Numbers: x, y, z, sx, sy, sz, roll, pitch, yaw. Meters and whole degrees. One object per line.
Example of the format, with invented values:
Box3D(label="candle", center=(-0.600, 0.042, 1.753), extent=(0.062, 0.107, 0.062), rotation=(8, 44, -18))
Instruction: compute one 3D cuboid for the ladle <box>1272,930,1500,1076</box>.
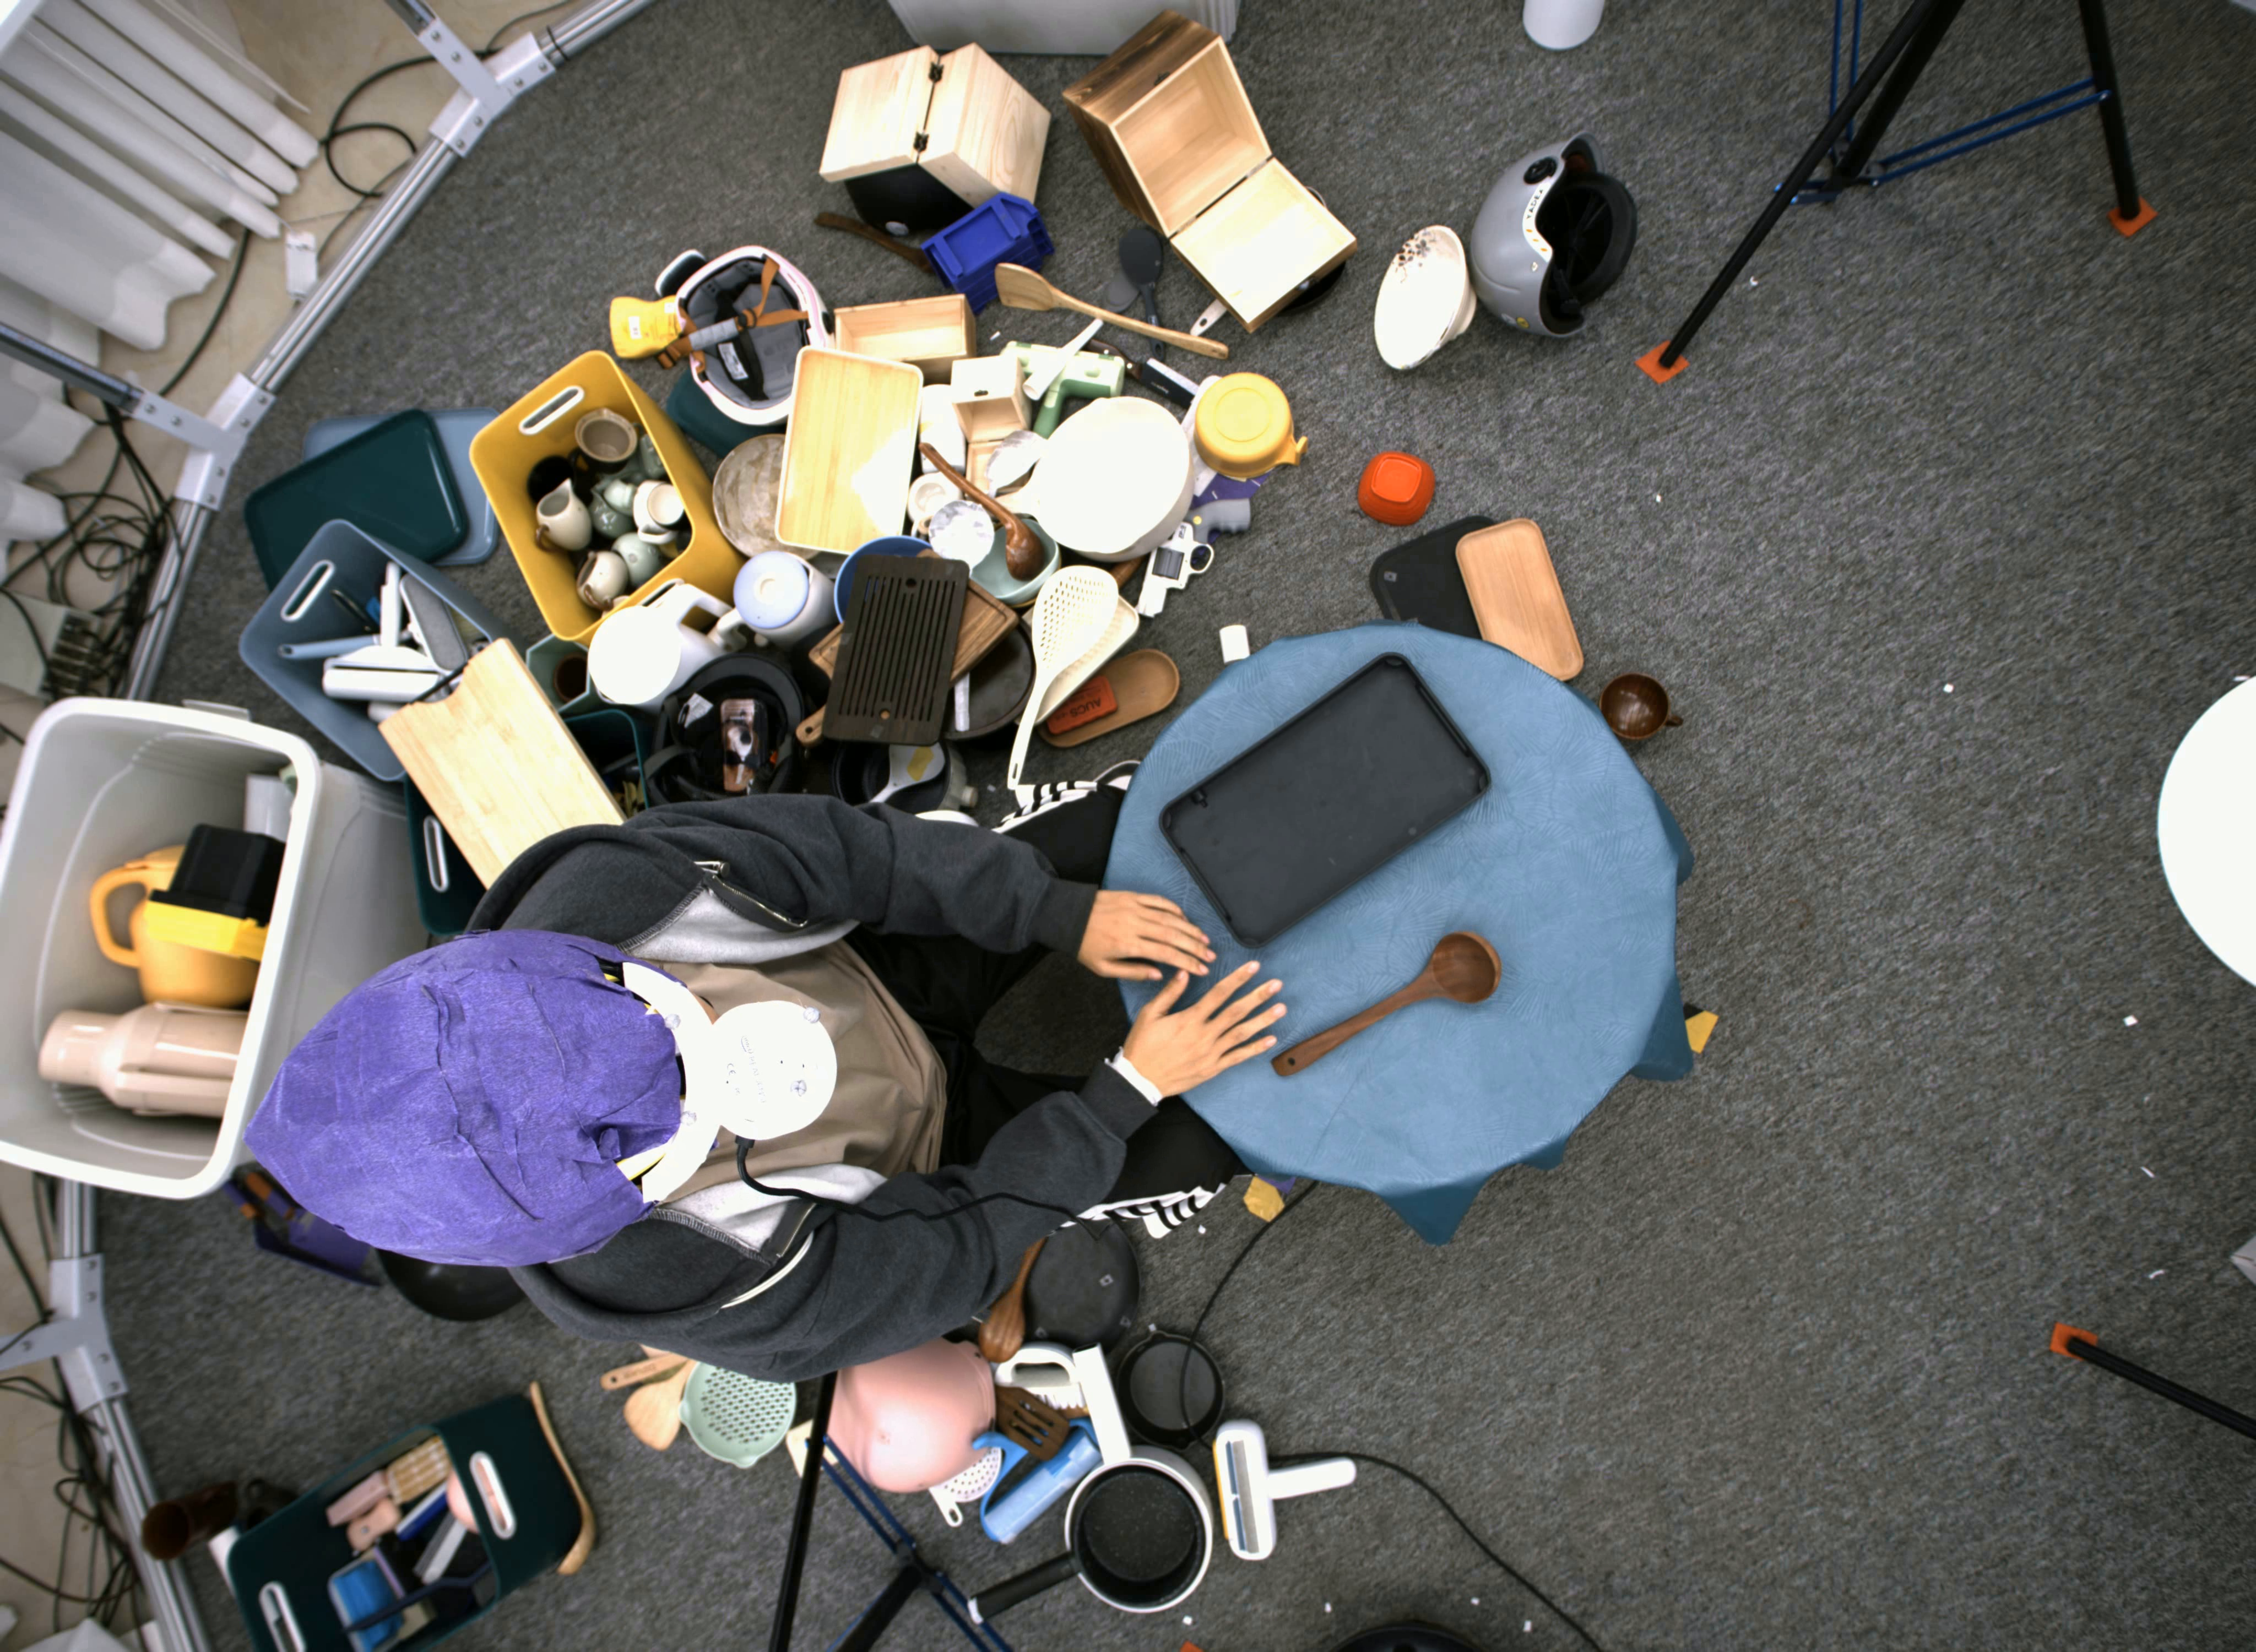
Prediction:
Box3D(label="ladle", center=(0.261, 0.188, 1.422), extent=(0.262, 0.065, 0.076), rotation=(-29, 76, 8))

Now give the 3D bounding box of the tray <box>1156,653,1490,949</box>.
Box3D(label="tray", center=(0.204, -0.026, 1.456), extent=(0.319, 0.037, 0.183), rotation=(-35, 82, 5))
